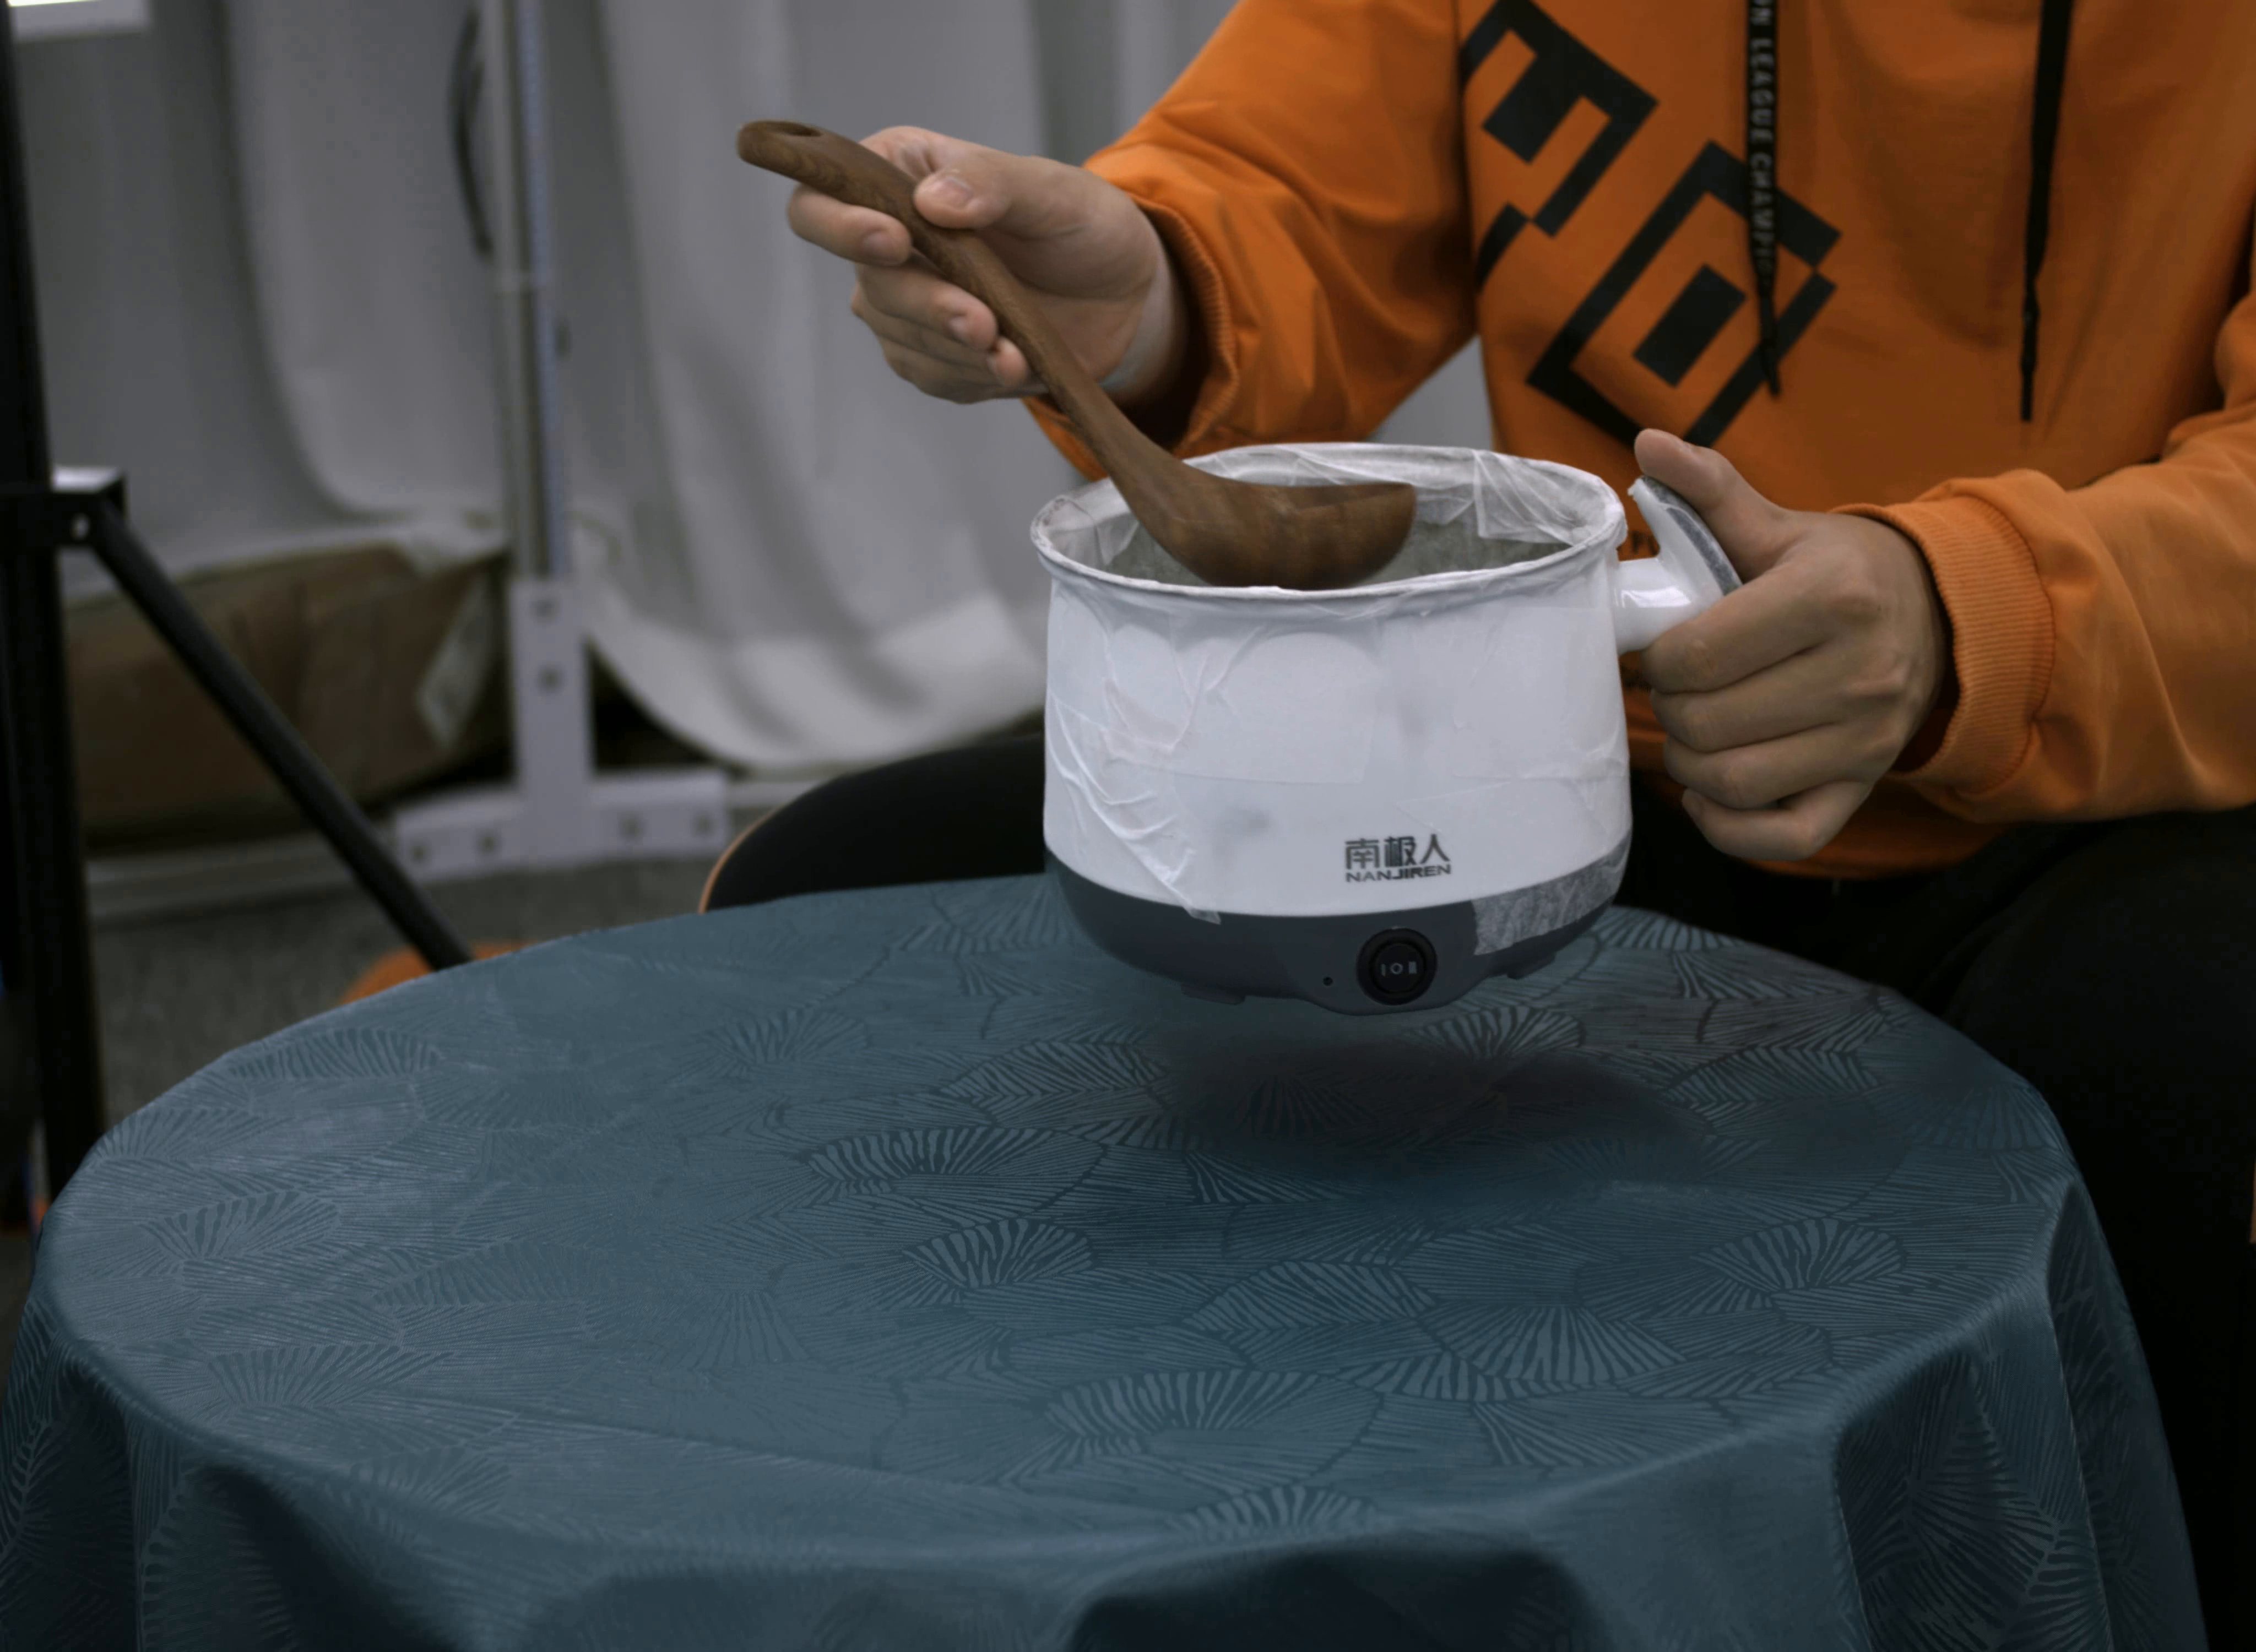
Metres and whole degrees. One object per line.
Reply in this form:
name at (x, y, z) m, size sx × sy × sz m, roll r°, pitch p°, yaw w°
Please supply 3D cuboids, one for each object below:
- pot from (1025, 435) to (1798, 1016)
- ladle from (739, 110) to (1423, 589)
pot at (0.087, -0.036, 1.602) m, size 0.231 × 0.136 × 0.181 m, roll -6°, pitch 18°, yaw -8°
ladle at (-0.017, -0.151, 1.592) m, size 0.264 × 0.065 × 0.075 m, roll 45°, pitch 27°, yaw 22°
